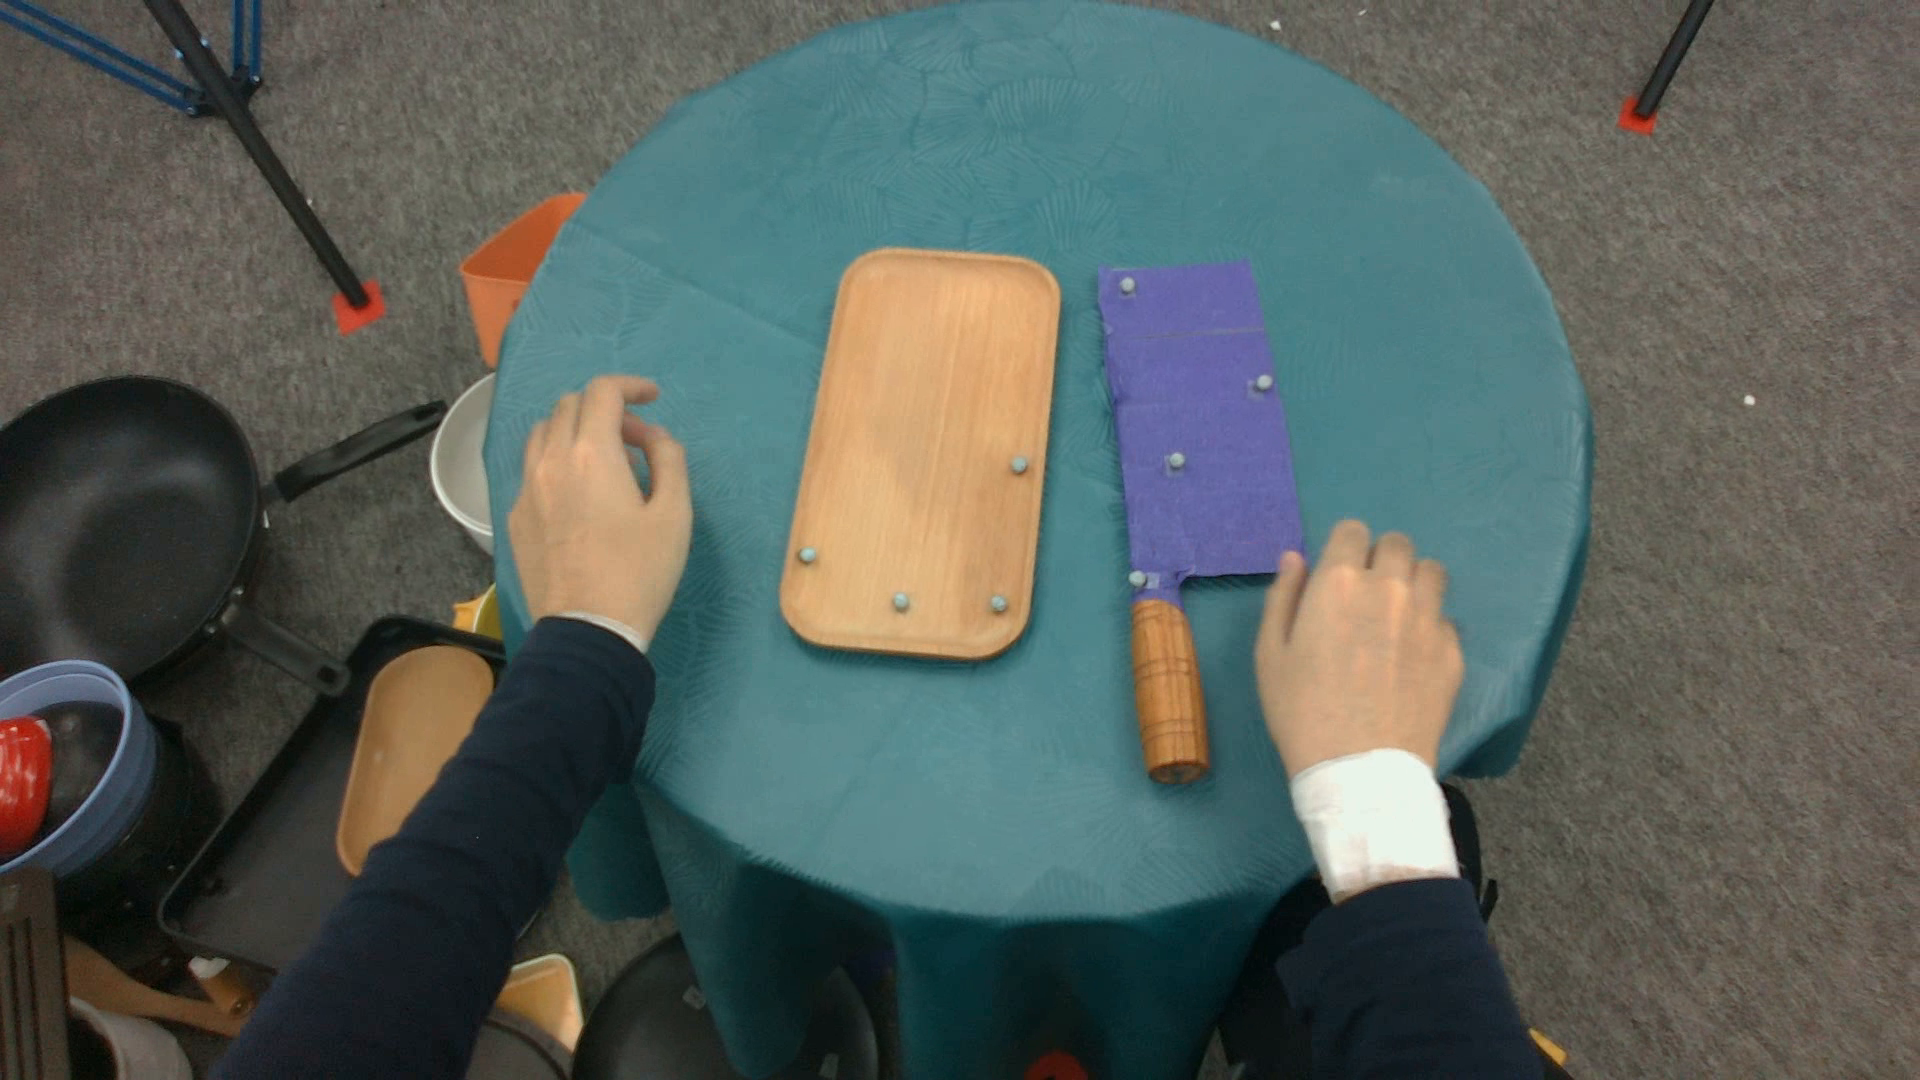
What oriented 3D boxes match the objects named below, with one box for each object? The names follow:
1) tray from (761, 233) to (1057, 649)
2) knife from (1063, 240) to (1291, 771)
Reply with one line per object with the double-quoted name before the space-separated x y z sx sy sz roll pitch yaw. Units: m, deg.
"tray" -0.023 -0.060 0.737 0.130 0.023 0.252 8 62 3
"knife" 0.120 -0.036 0.716 0.104 0.032 0.316 -4 61 -1
